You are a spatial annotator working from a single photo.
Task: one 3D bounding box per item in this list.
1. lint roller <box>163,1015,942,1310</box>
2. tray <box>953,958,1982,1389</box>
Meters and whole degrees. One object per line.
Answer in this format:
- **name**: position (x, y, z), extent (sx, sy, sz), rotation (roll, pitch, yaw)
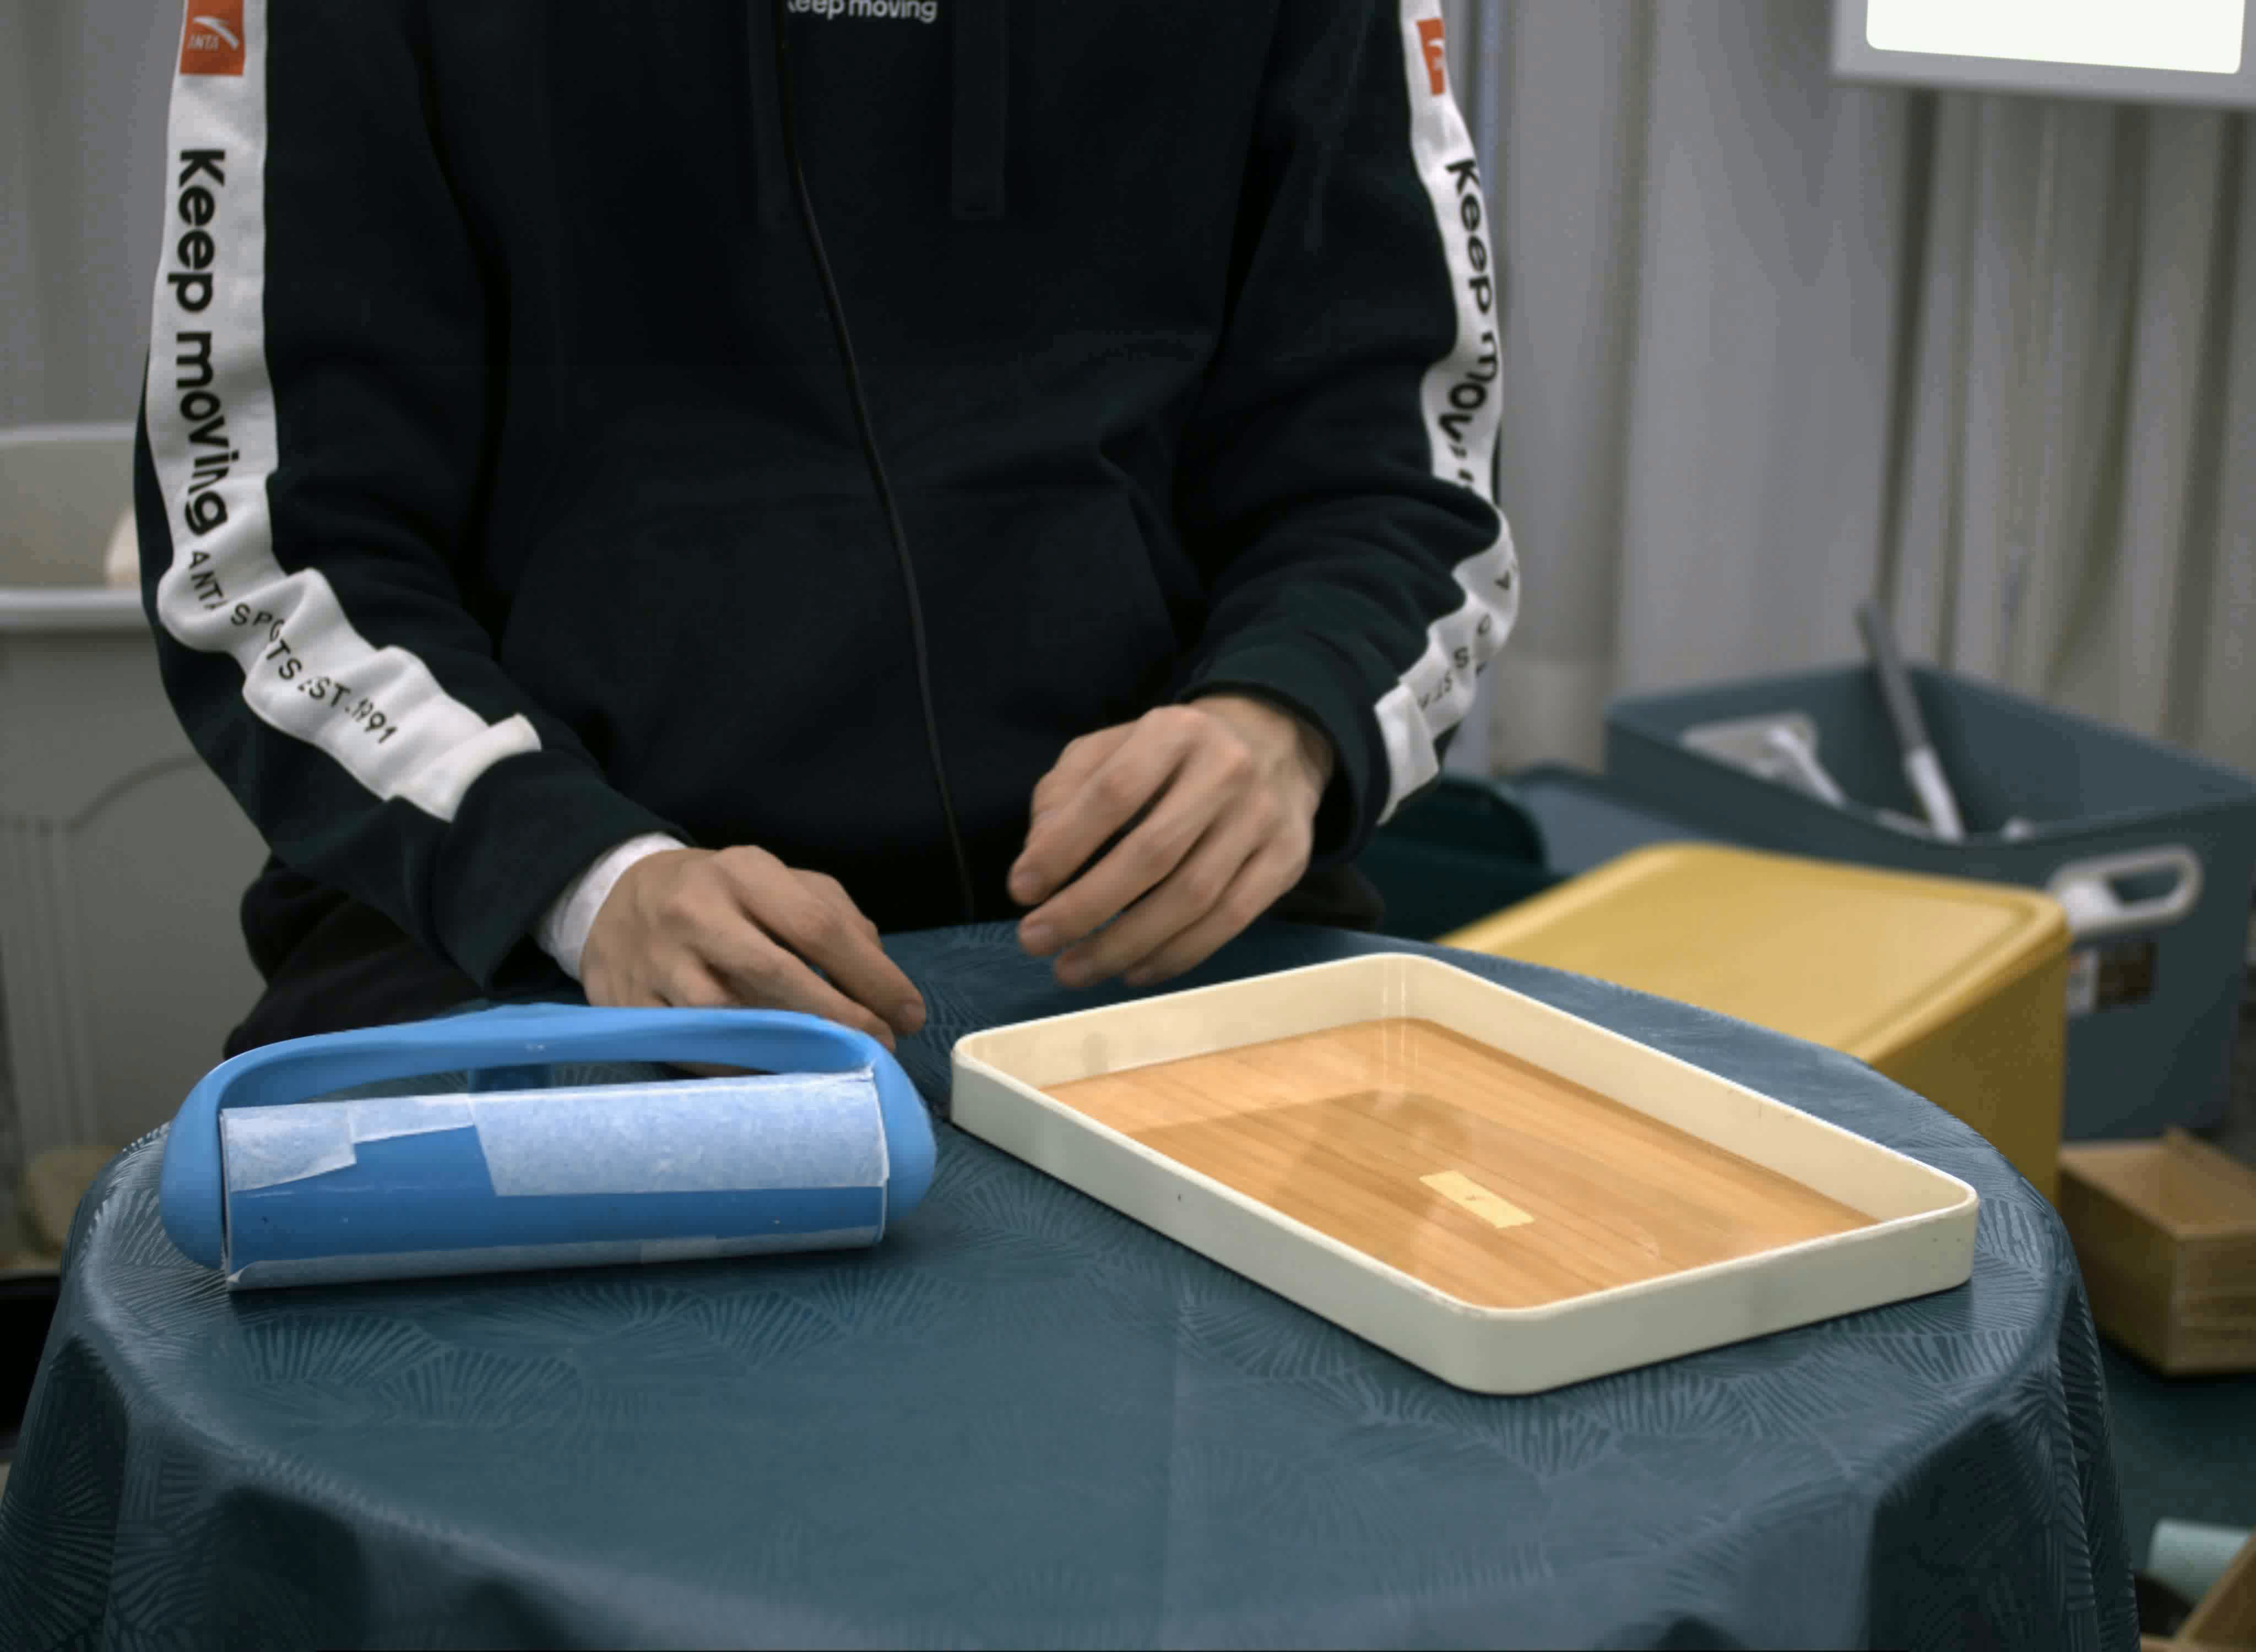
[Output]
- **lint roller**: position (-0.183, 0.089, 1.597), extent (0.229, 0.068, 0.178), rotation (-6, 17, -15)
- **tray**: position (0.098, 0.101, 1.613), extent (0.192, 0.027, 0.296), rotation (-9, 18, -32)
